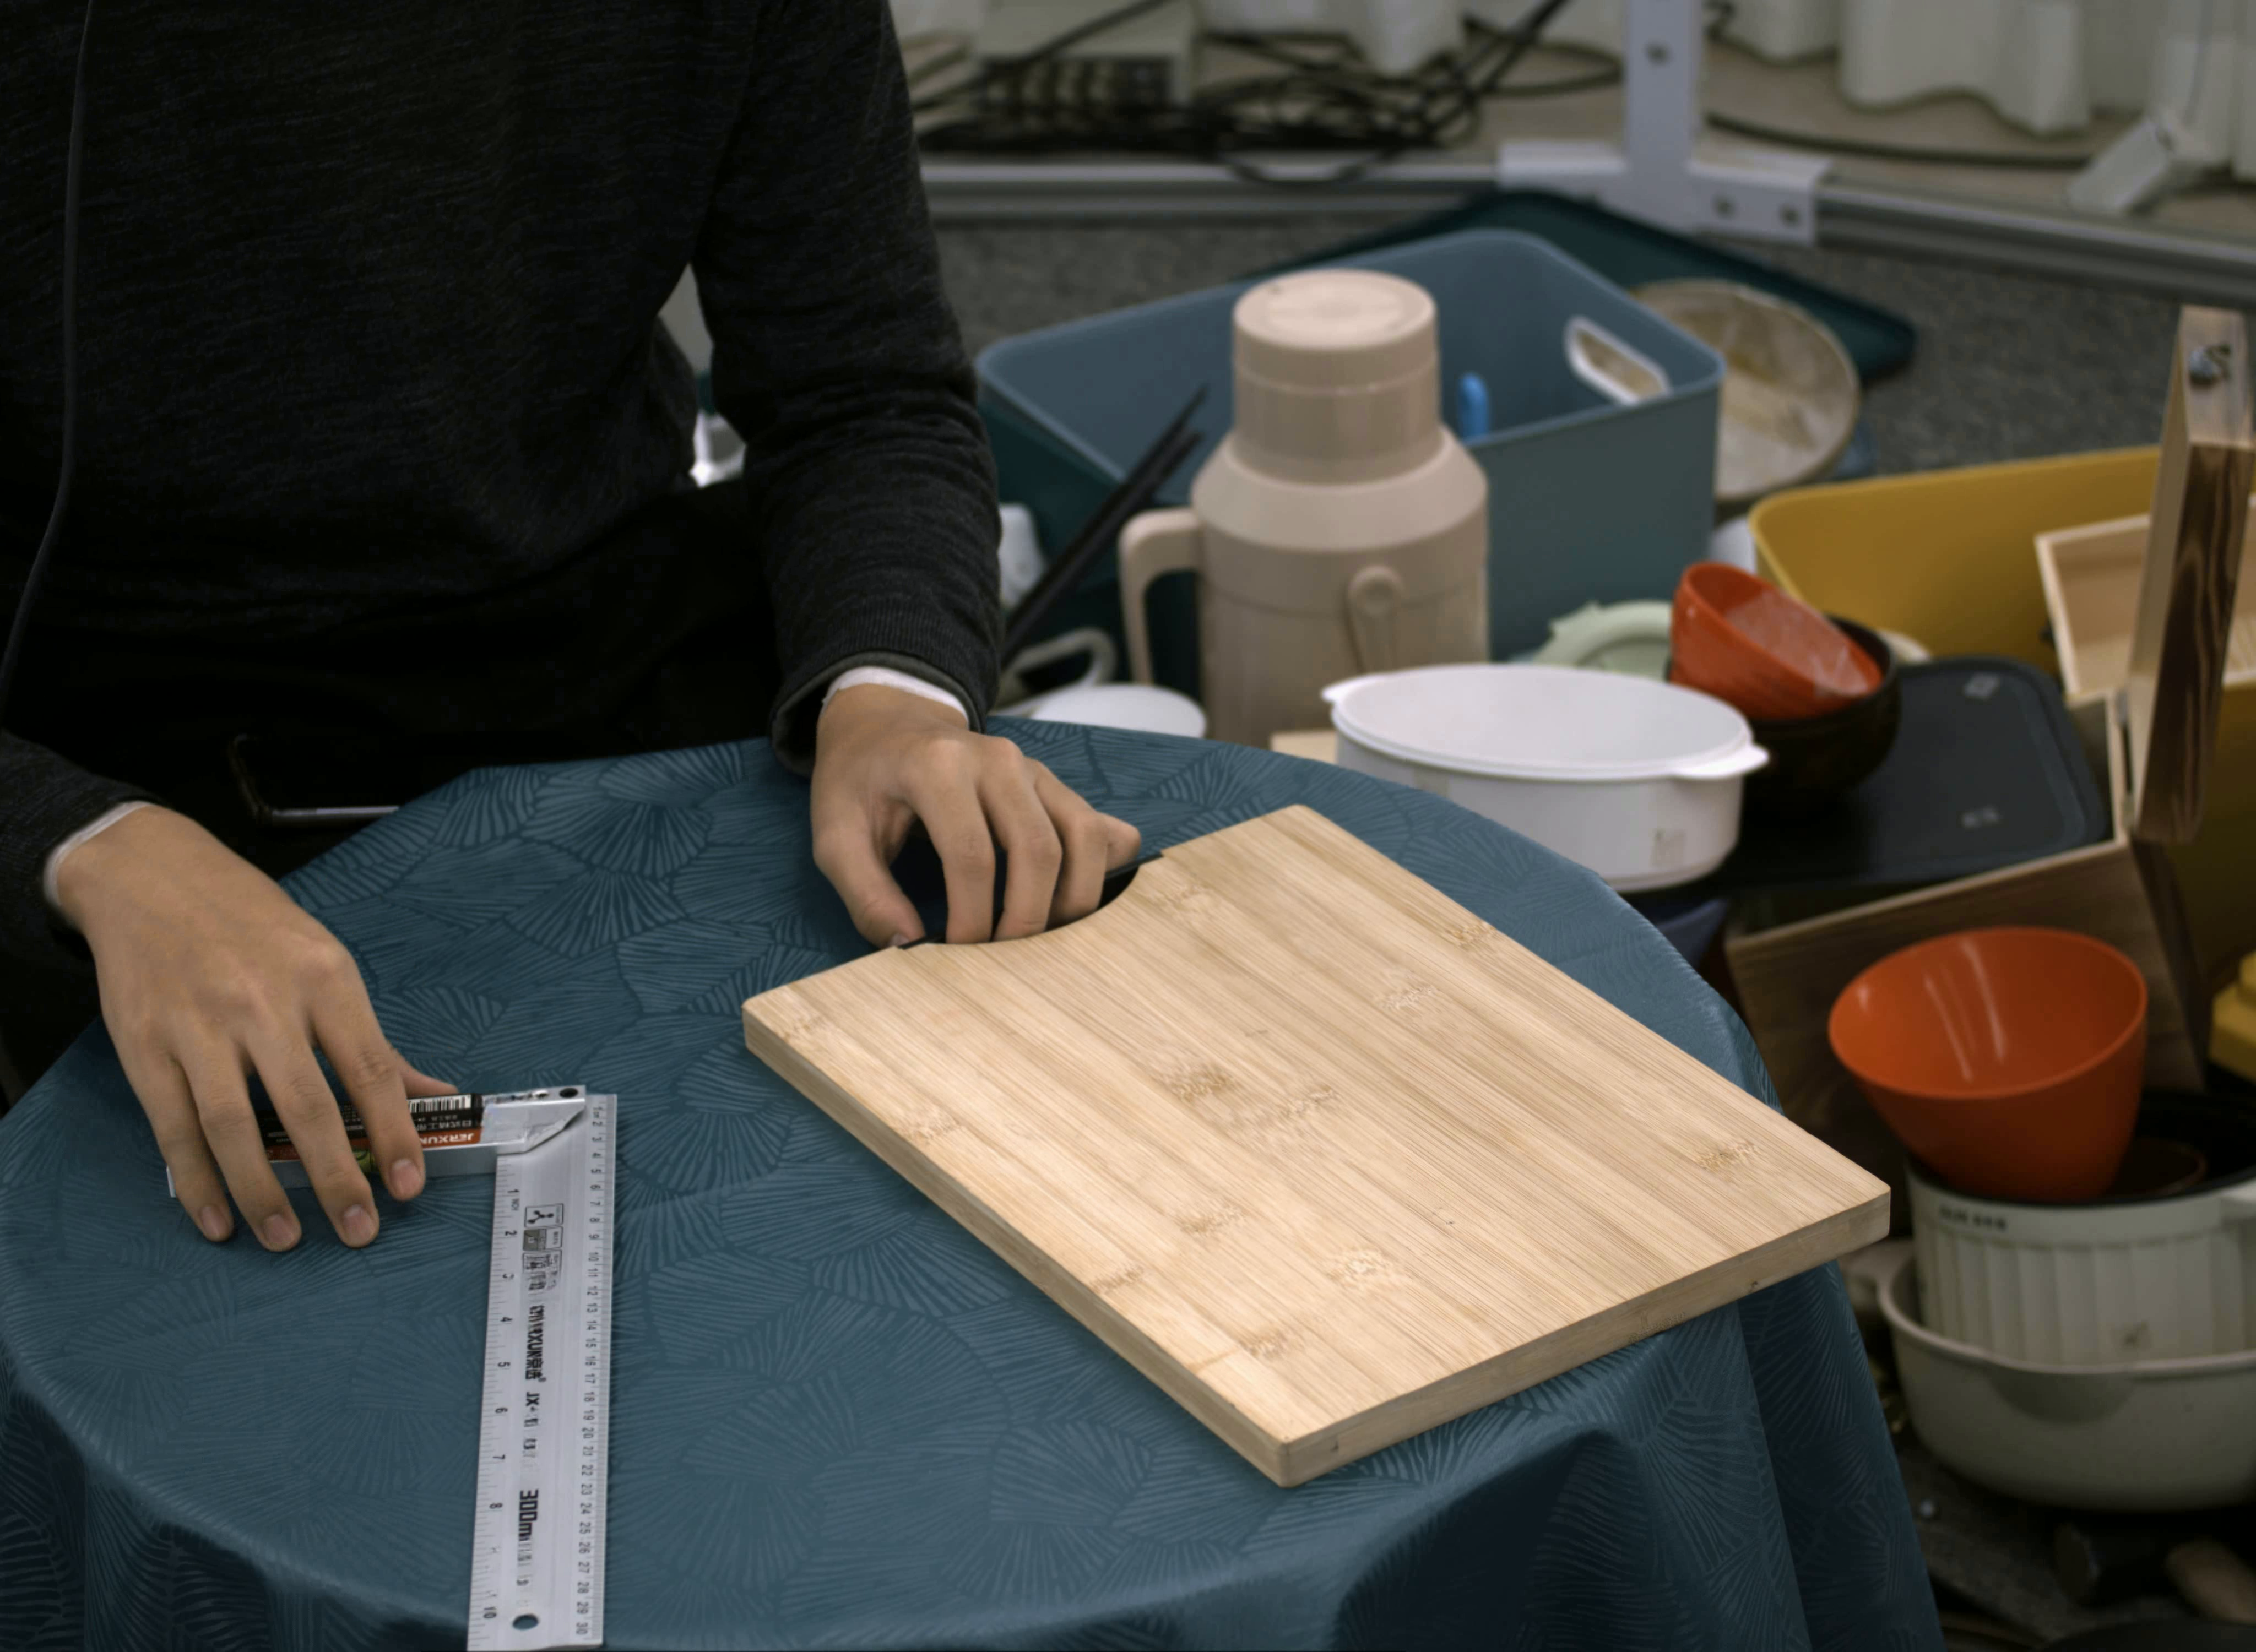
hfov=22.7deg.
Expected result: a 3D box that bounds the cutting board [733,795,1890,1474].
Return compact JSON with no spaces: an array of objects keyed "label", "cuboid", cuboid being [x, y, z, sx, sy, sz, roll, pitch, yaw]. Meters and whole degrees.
[{"label":"cutting board","cuboid":[0.054,0.095,1.890,0.252,0.023,0.349,-19,31,-28]}]

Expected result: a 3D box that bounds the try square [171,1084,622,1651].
[{"label":"try square","cuboid":[-0.238,0.172,1.780,0.151,0.016,0.317,-5,28,-2]}]
